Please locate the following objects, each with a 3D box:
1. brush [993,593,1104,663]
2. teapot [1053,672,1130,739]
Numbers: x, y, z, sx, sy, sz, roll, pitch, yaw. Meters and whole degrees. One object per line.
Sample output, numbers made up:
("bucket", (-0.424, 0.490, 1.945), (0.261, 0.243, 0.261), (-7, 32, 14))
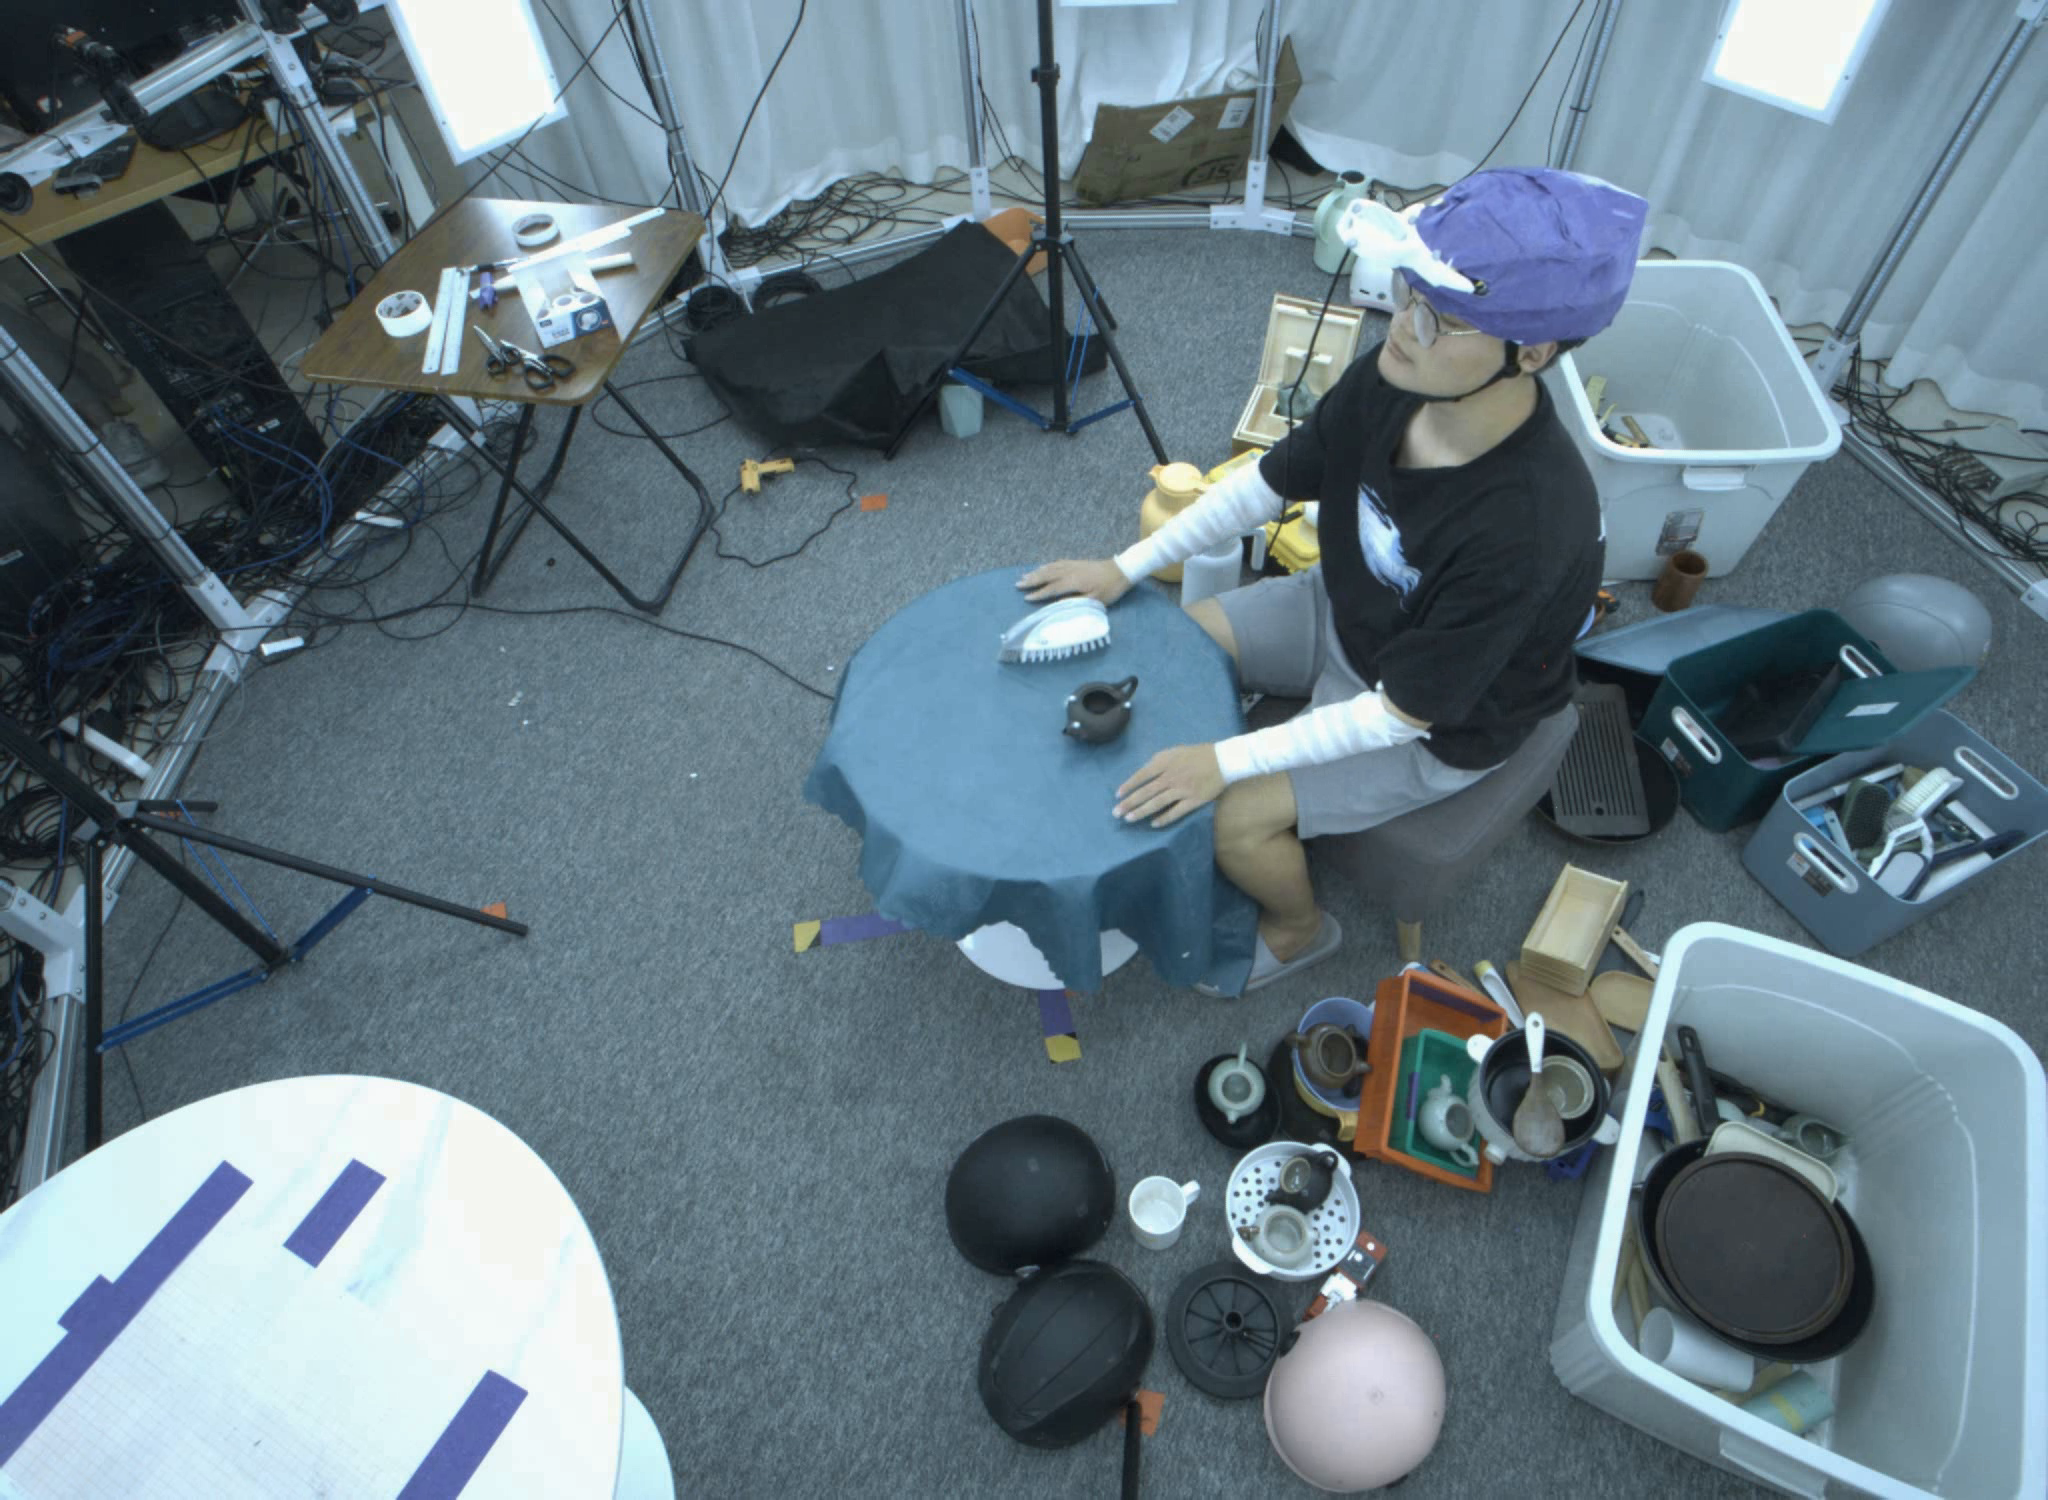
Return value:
("brush", (0.032, -0.186, 1.854), (0.176, 0.095, 0.060), (-16, 50, -7))
("teapot", (0.098, -0.061, 1.778), (0.155, 0.065, 0.090), (-40, 62, -22))
